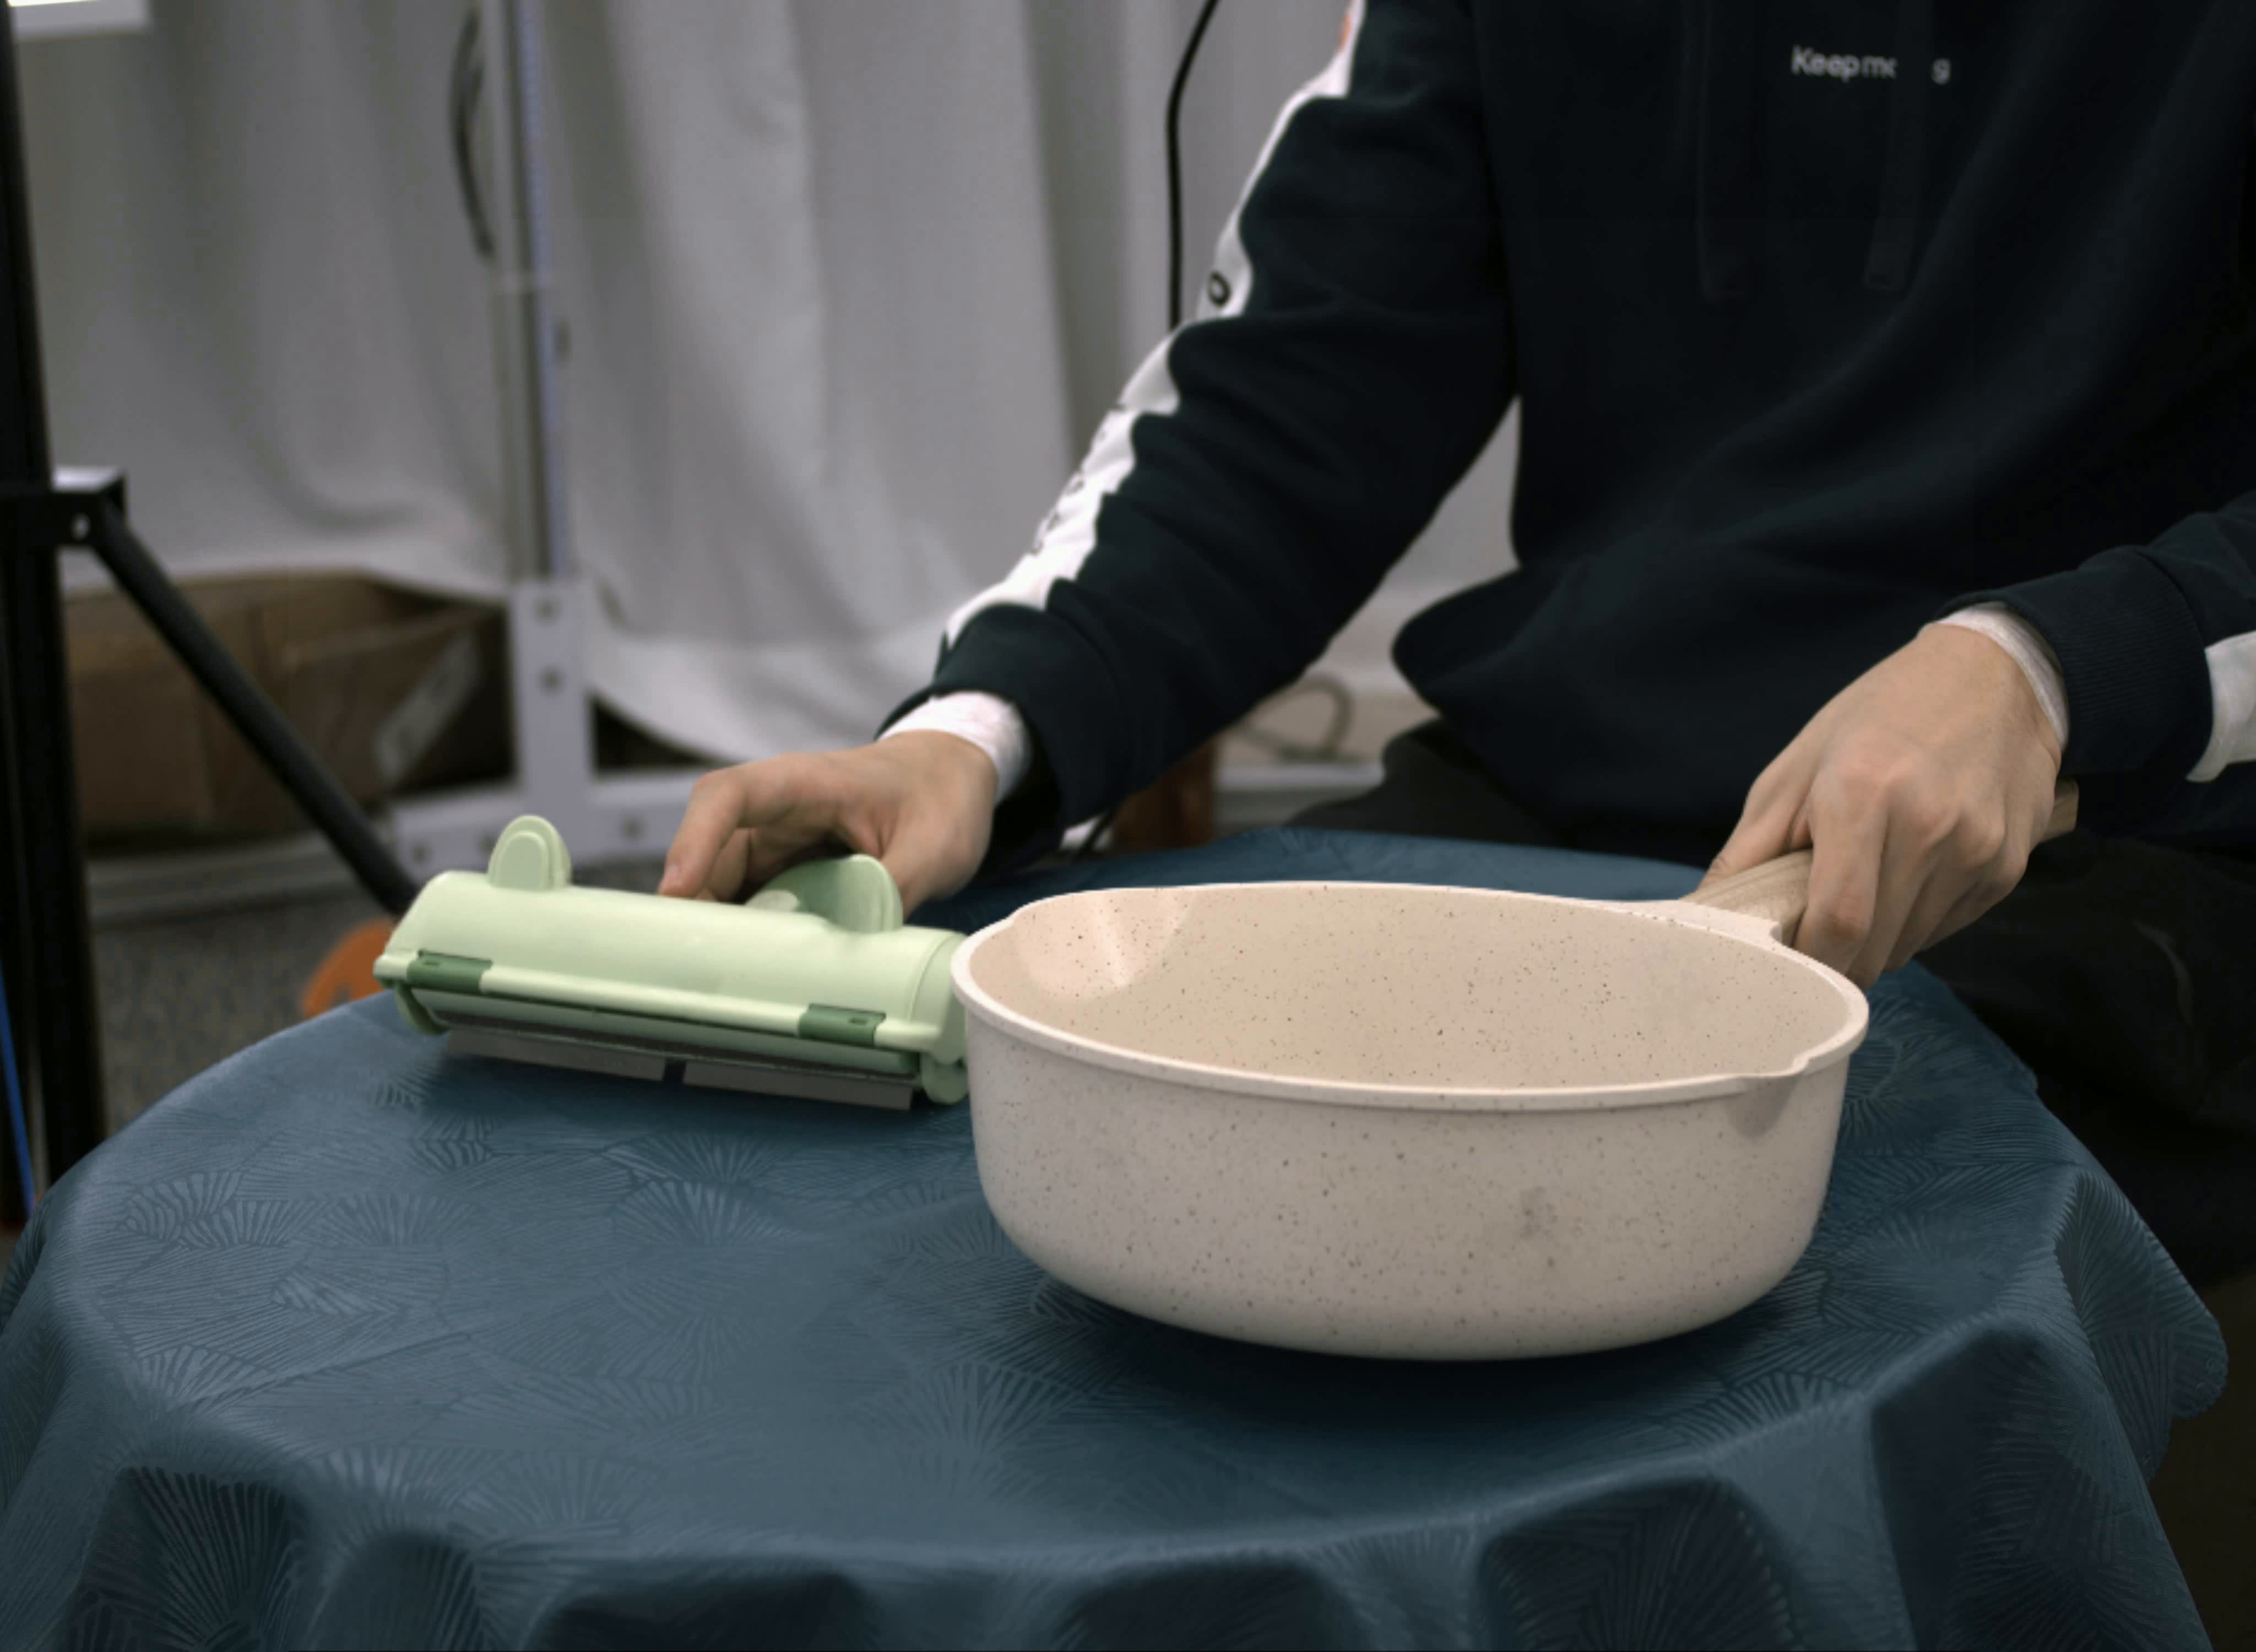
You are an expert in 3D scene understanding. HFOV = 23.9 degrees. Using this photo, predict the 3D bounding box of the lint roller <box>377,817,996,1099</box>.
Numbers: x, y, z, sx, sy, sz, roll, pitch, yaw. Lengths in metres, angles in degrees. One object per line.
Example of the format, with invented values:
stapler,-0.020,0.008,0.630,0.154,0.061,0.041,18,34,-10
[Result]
lint roller,-0.117,0.022,1.720,0.201,0.082,0.181,5,25,23

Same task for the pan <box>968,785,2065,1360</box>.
pan,0.142,0.064,1.510,0.269,0.102,0.424,11,14,43
